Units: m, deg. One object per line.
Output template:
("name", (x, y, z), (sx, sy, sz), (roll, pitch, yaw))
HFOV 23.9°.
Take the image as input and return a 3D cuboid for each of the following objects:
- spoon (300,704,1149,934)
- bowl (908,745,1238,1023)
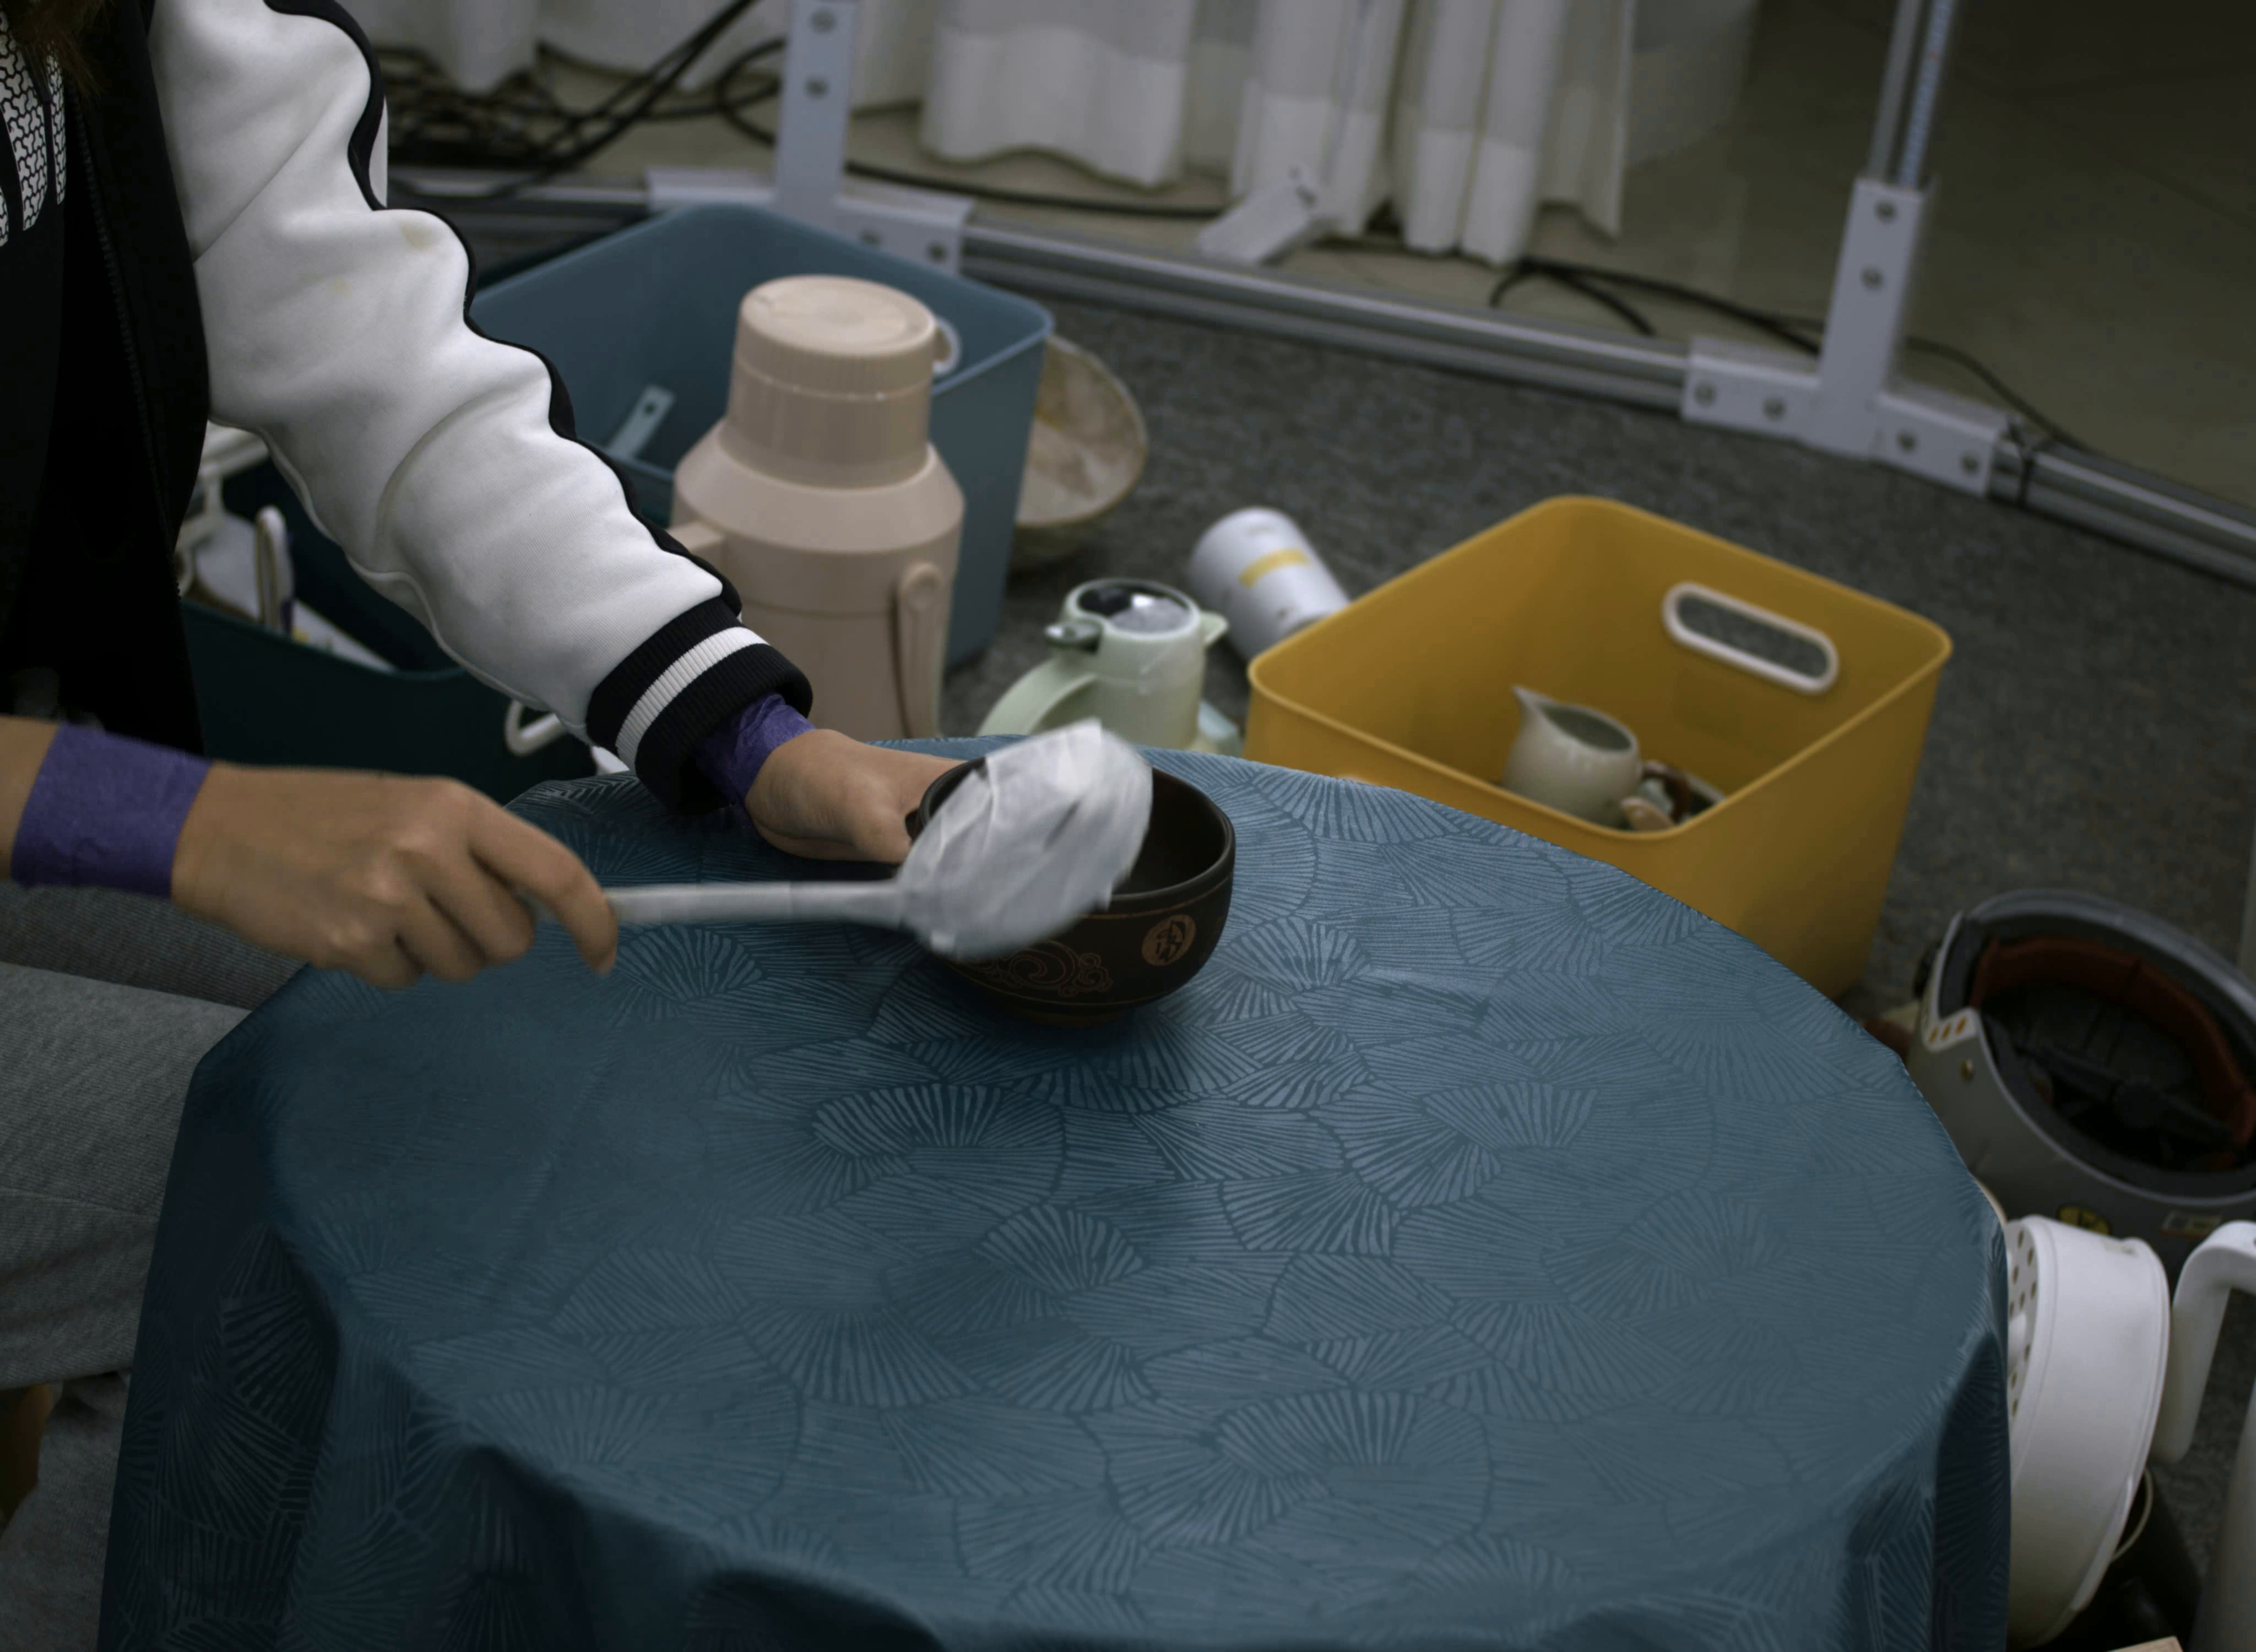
("spoon", (-0.132, 0.003, 1.744), (0.277, 0.100, 0.060), (-1, 50, 7))
("bowl", (-0.022, 0.027, 1.906), (0.117, 0.069, 0.119), (5, 27, -3))
